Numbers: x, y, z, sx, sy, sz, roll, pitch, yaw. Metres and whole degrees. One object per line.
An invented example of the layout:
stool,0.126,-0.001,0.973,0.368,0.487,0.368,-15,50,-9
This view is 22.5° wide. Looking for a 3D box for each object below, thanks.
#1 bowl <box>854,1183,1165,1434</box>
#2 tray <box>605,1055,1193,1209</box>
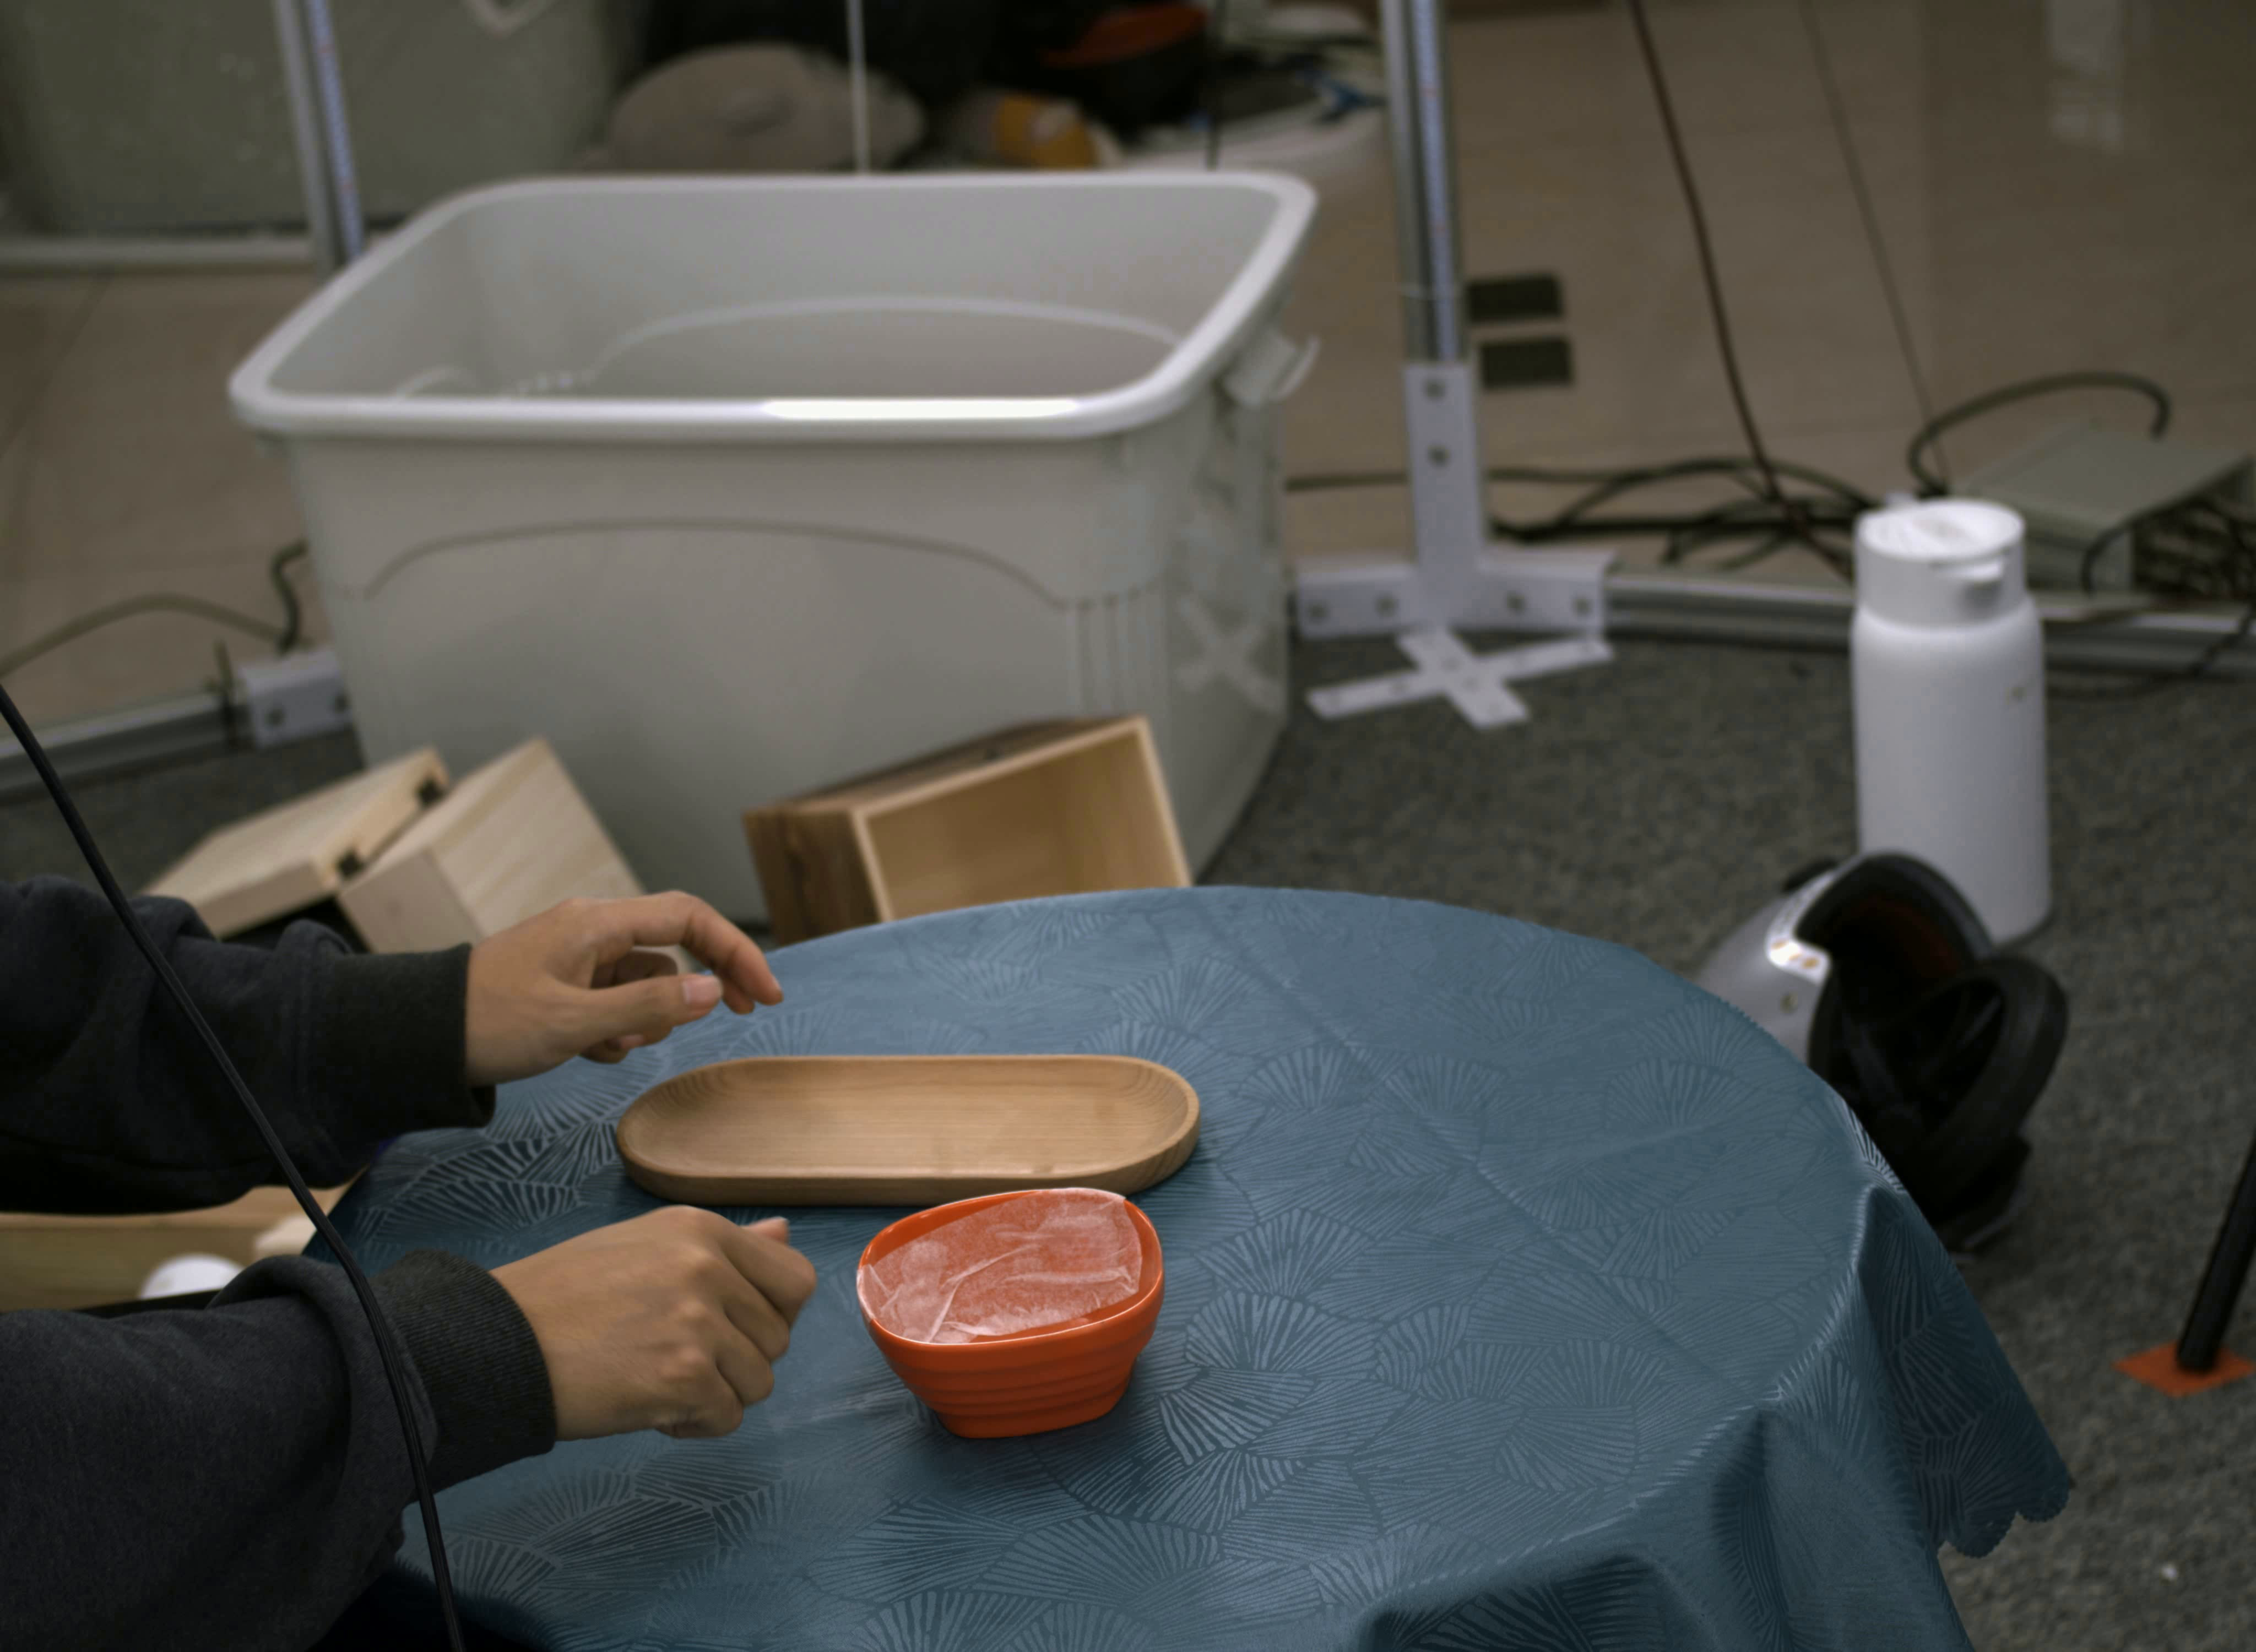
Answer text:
bowl,-0.040,0.176,2.013,0.119,0.052,0.117,-4,26,2
tray,-0.089,0.119,2.192,0.231,0.020,0.100,-2,24,12
